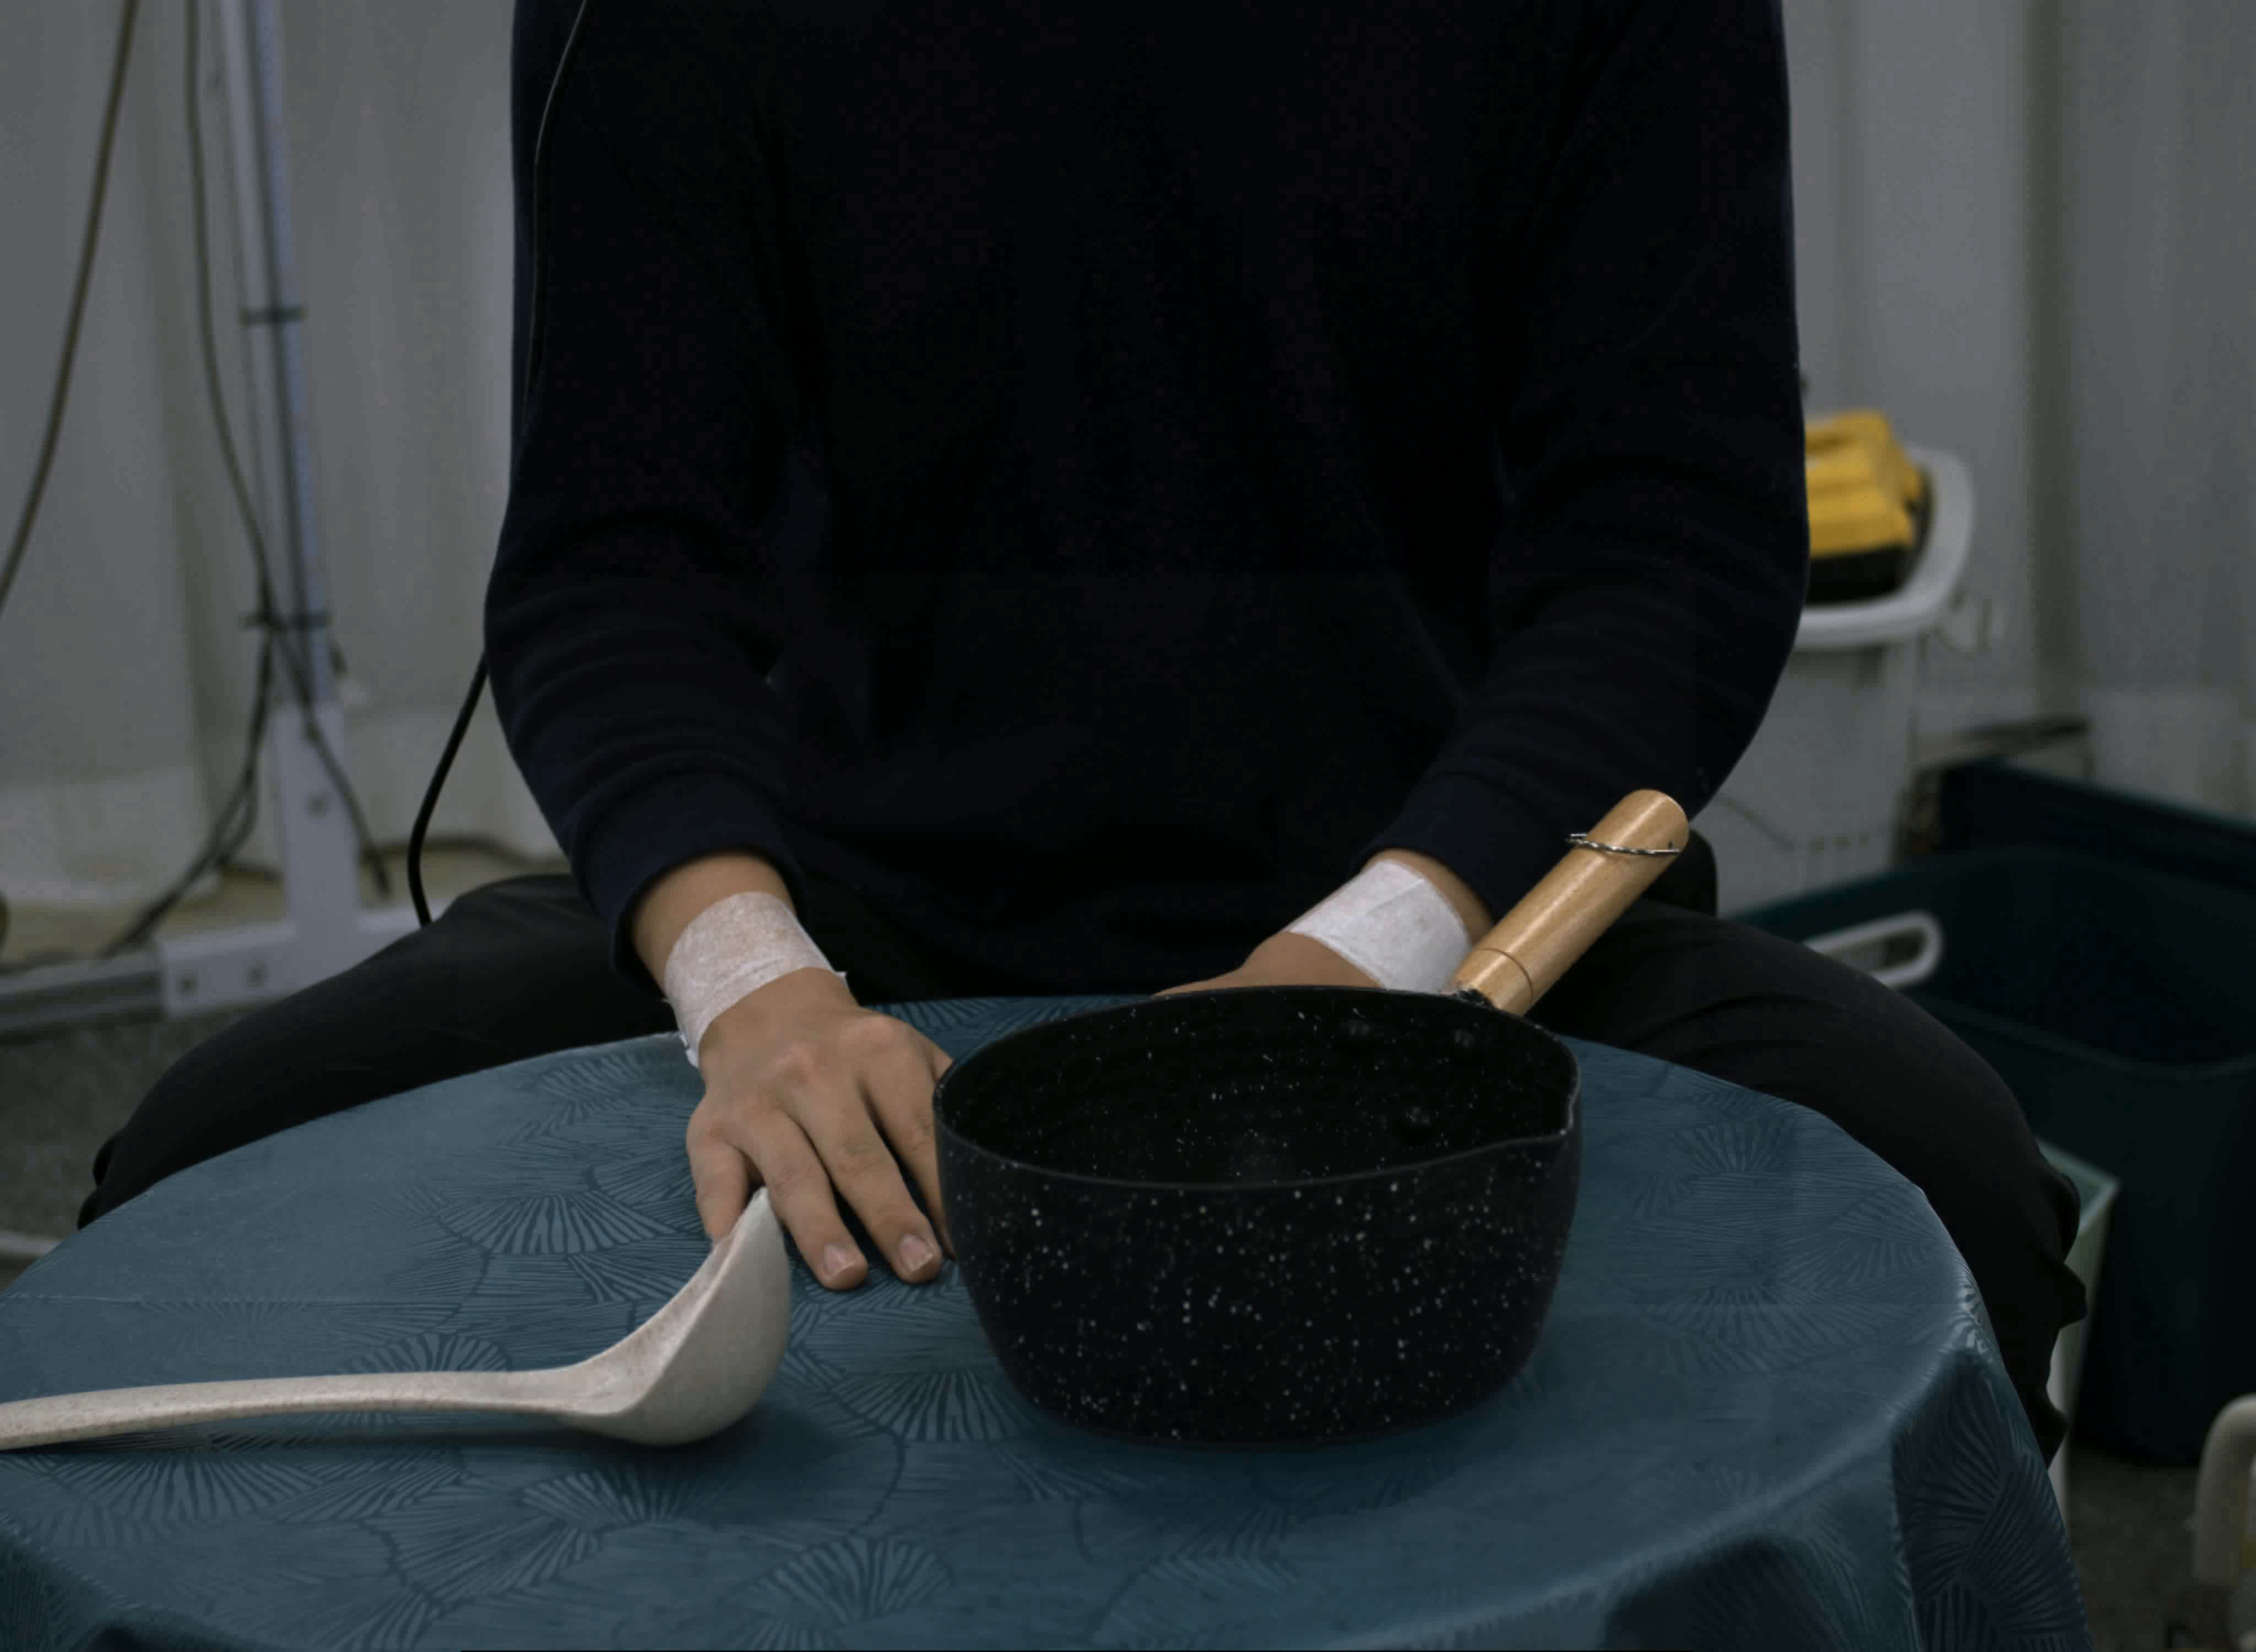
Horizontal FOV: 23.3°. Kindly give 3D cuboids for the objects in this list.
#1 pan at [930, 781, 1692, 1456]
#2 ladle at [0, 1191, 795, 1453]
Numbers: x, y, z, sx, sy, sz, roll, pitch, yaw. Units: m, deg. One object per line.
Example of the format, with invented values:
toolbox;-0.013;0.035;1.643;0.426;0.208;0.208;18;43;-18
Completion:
pan;0.079;0.081;1.617;0.208;0.108;0.343;5;18;32
ladle;-0.229;0.143;1.535;0.274;0.069;0.090;-3;21;6
